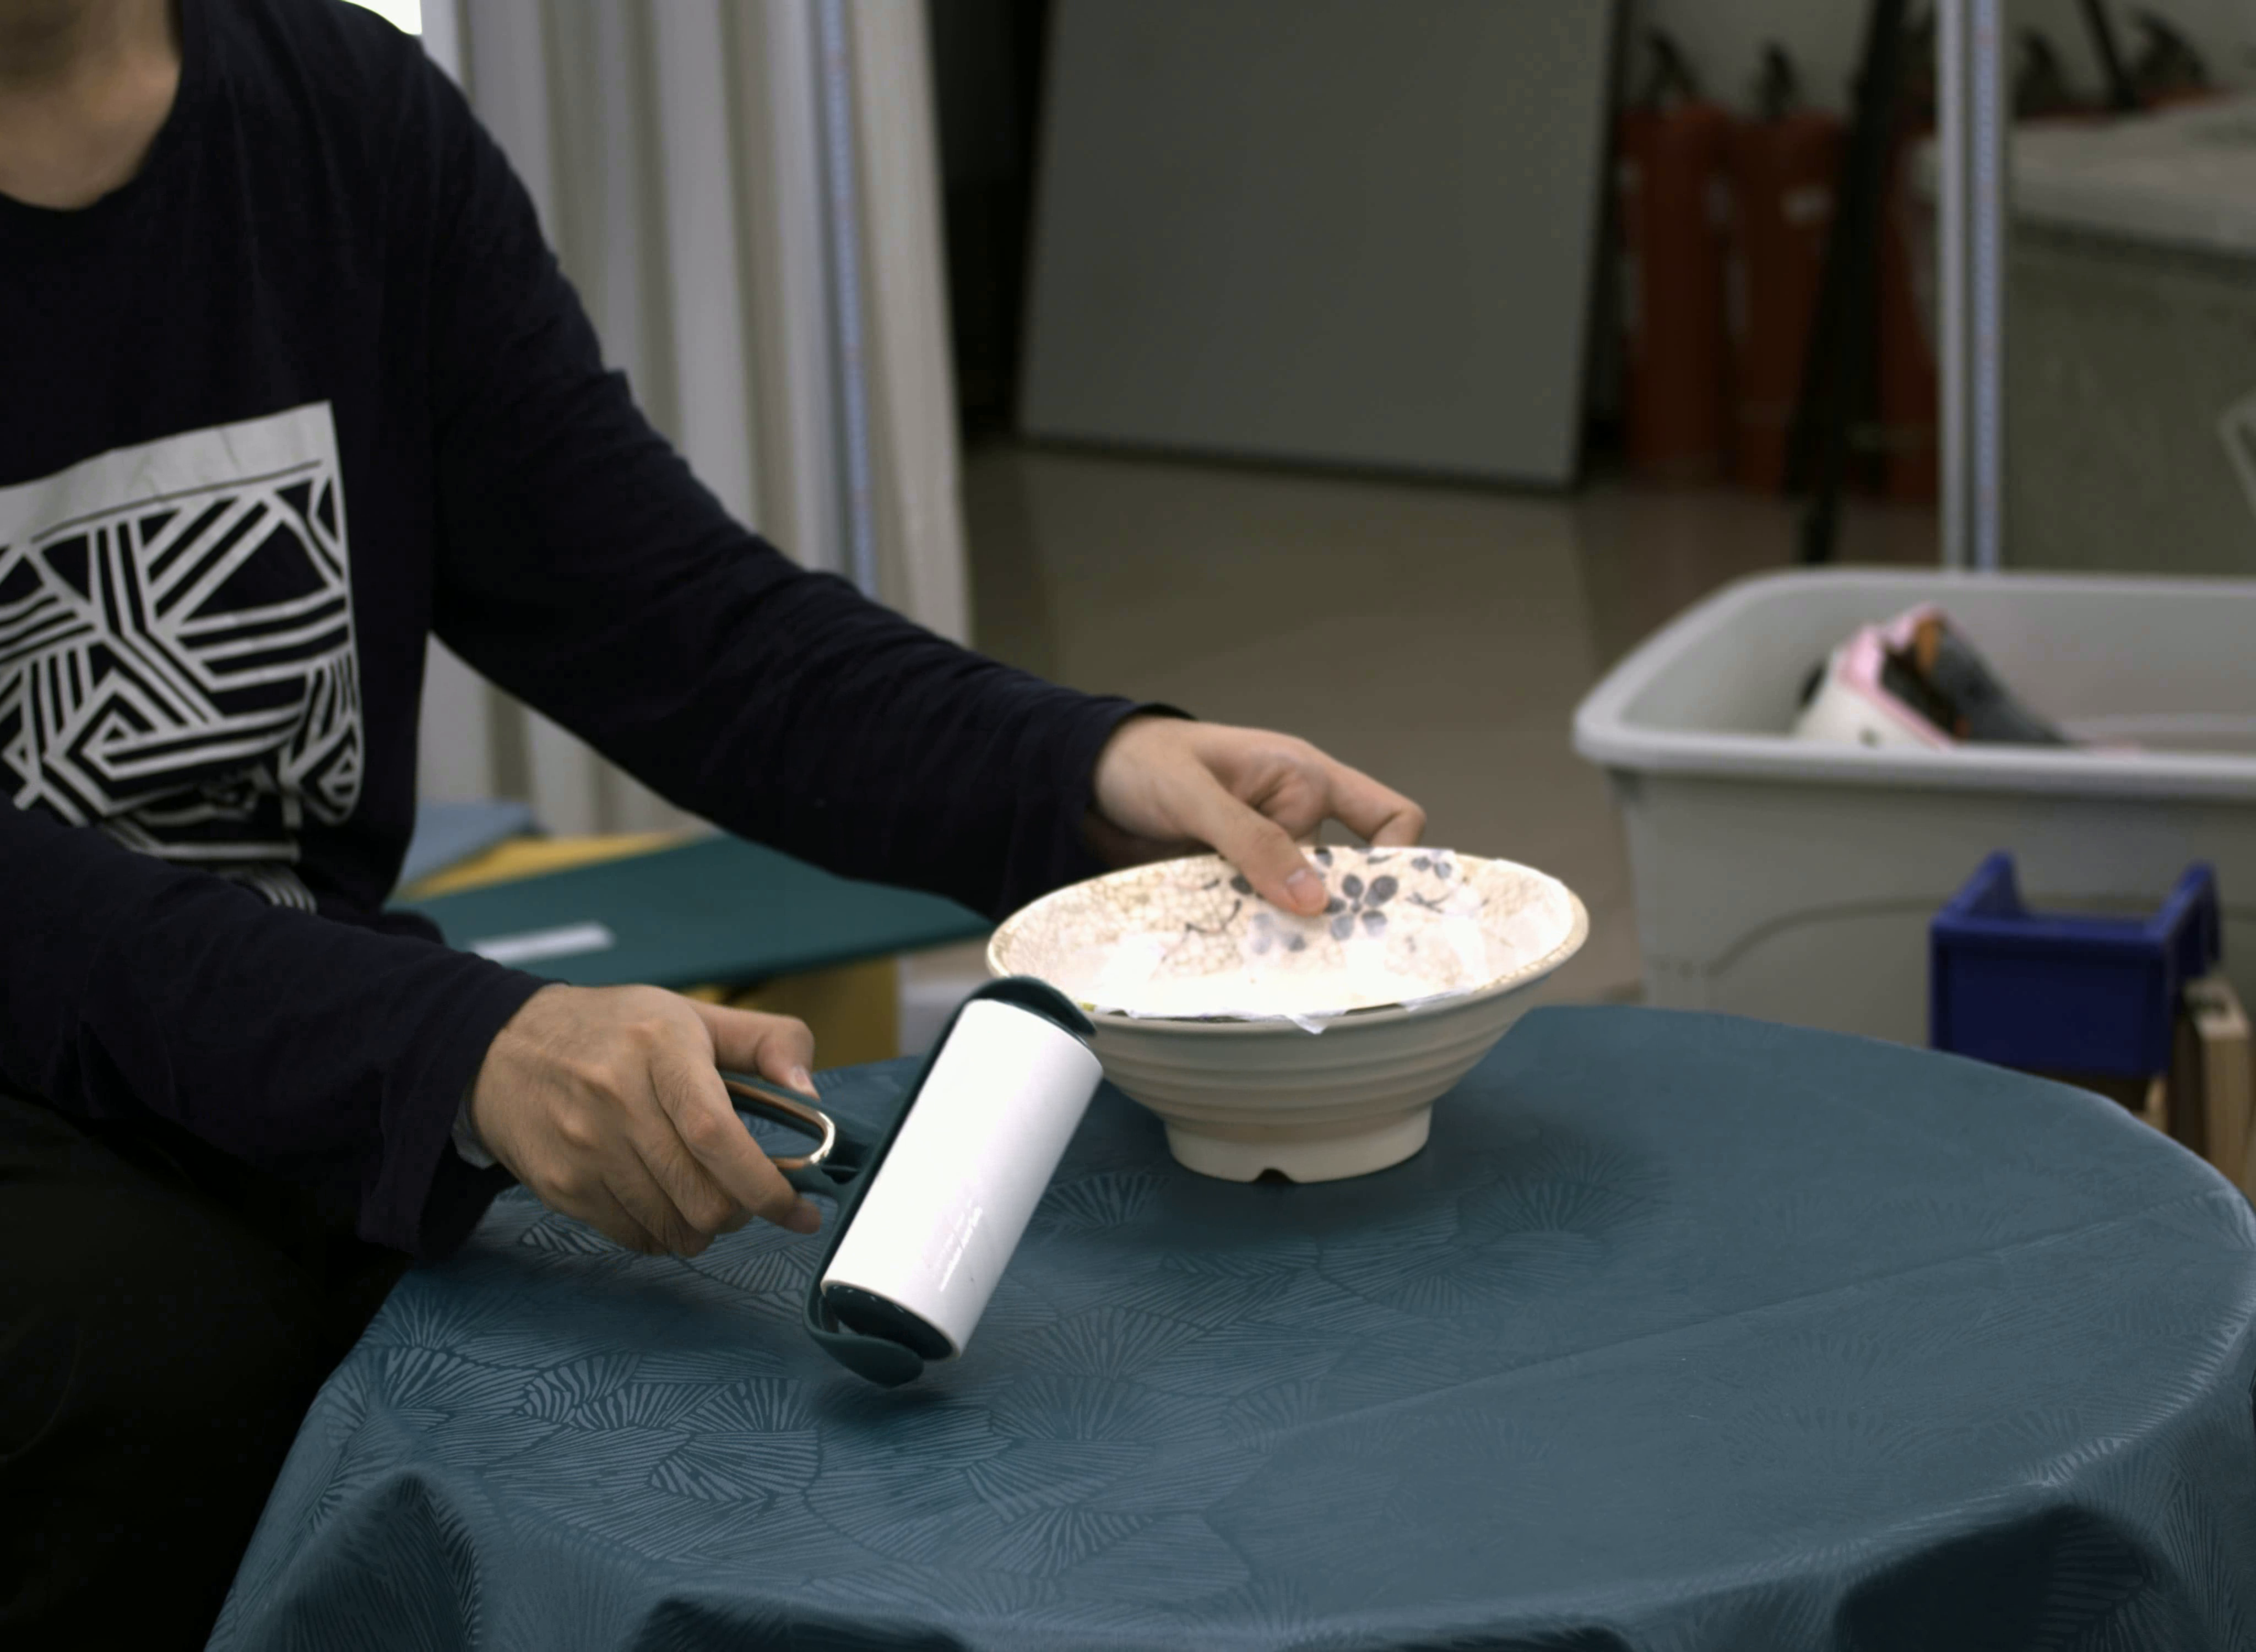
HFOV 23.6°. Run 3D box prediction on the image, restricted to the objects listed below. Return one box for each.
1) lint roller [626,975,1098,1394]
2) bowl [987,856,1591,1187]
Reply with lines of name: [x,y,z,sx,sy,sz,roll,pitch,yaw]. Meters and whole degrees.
lint roller: [-0.100,0.099,1.653,0.181,0.048,0.134,8,61,41]
bowl: [0.056,0.071,1.797,0.201,0.079,0.204,-4,13,0]
